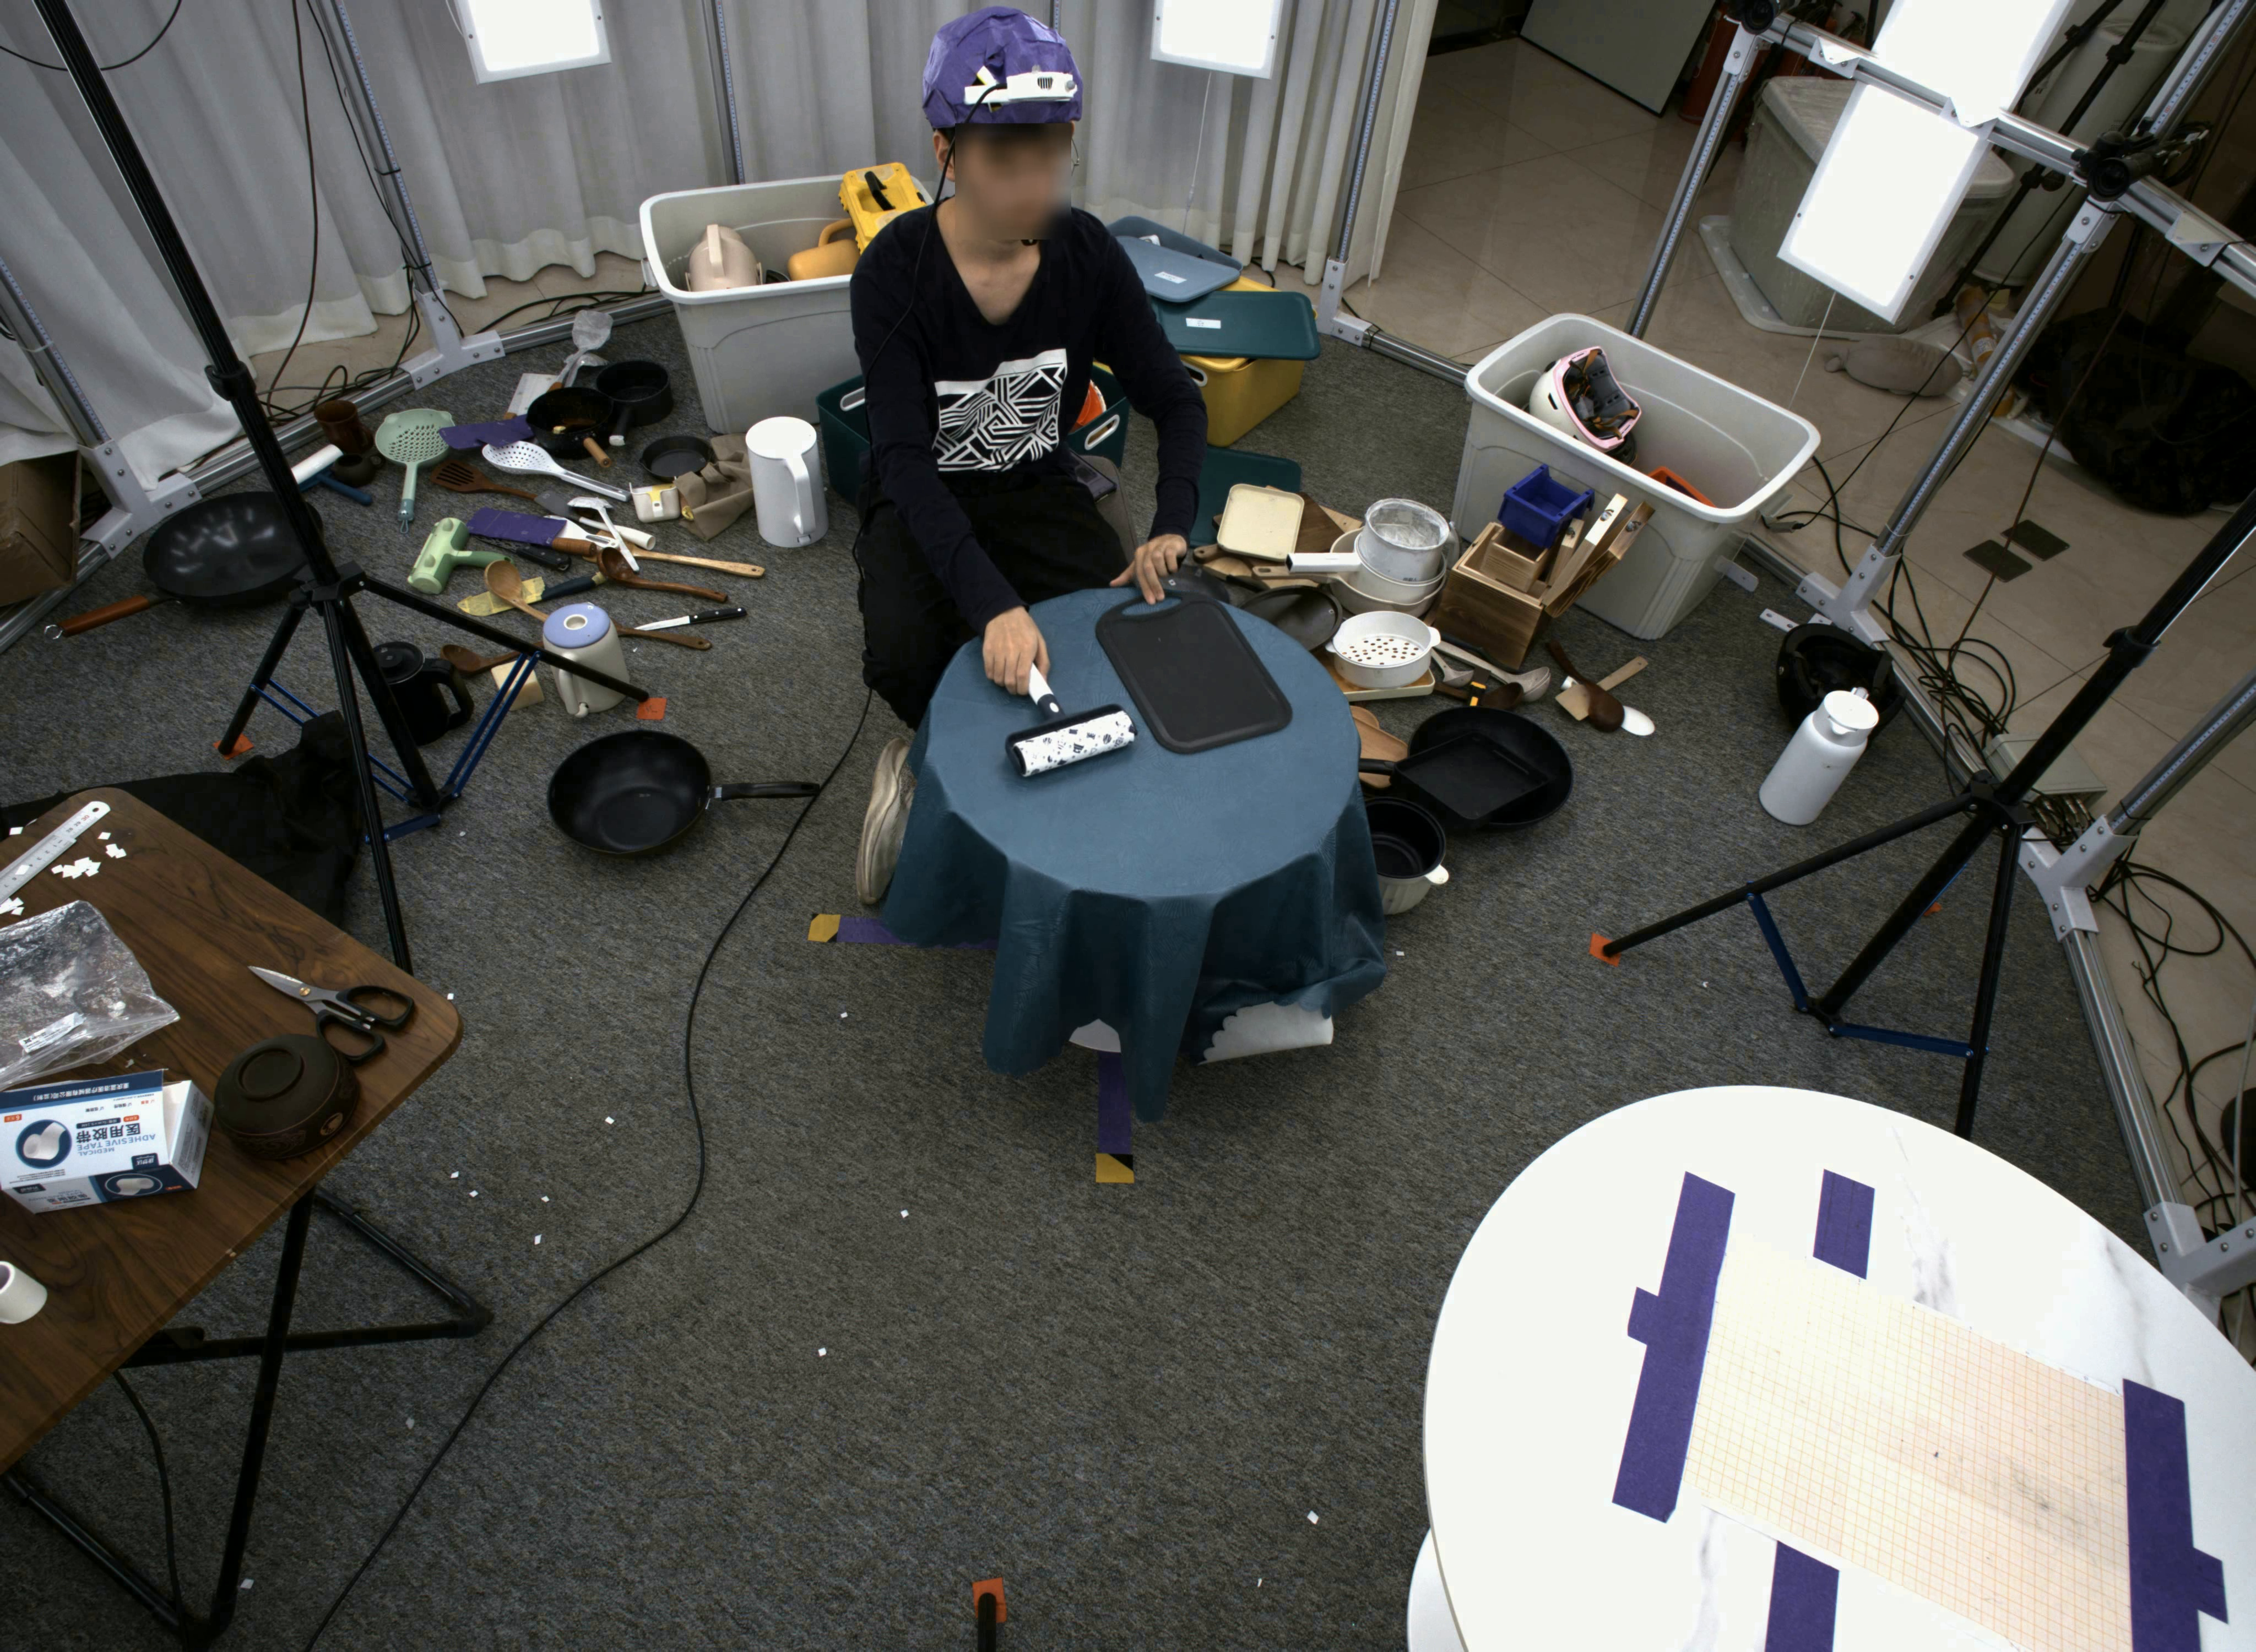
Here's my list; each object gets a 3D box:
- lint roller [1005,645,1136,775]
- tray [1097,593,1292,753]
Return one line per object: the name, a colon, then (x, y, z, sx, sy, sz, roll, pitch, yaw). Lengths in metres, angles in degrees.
lint roller: (-0.119, -0.181, 1.790, 0.176, 0.049, 0.252, -19, 50, -18)
tray: (0.089, -0.233, 1.872, 0.211, 0.009, 0.333, -15, 52, -16)
